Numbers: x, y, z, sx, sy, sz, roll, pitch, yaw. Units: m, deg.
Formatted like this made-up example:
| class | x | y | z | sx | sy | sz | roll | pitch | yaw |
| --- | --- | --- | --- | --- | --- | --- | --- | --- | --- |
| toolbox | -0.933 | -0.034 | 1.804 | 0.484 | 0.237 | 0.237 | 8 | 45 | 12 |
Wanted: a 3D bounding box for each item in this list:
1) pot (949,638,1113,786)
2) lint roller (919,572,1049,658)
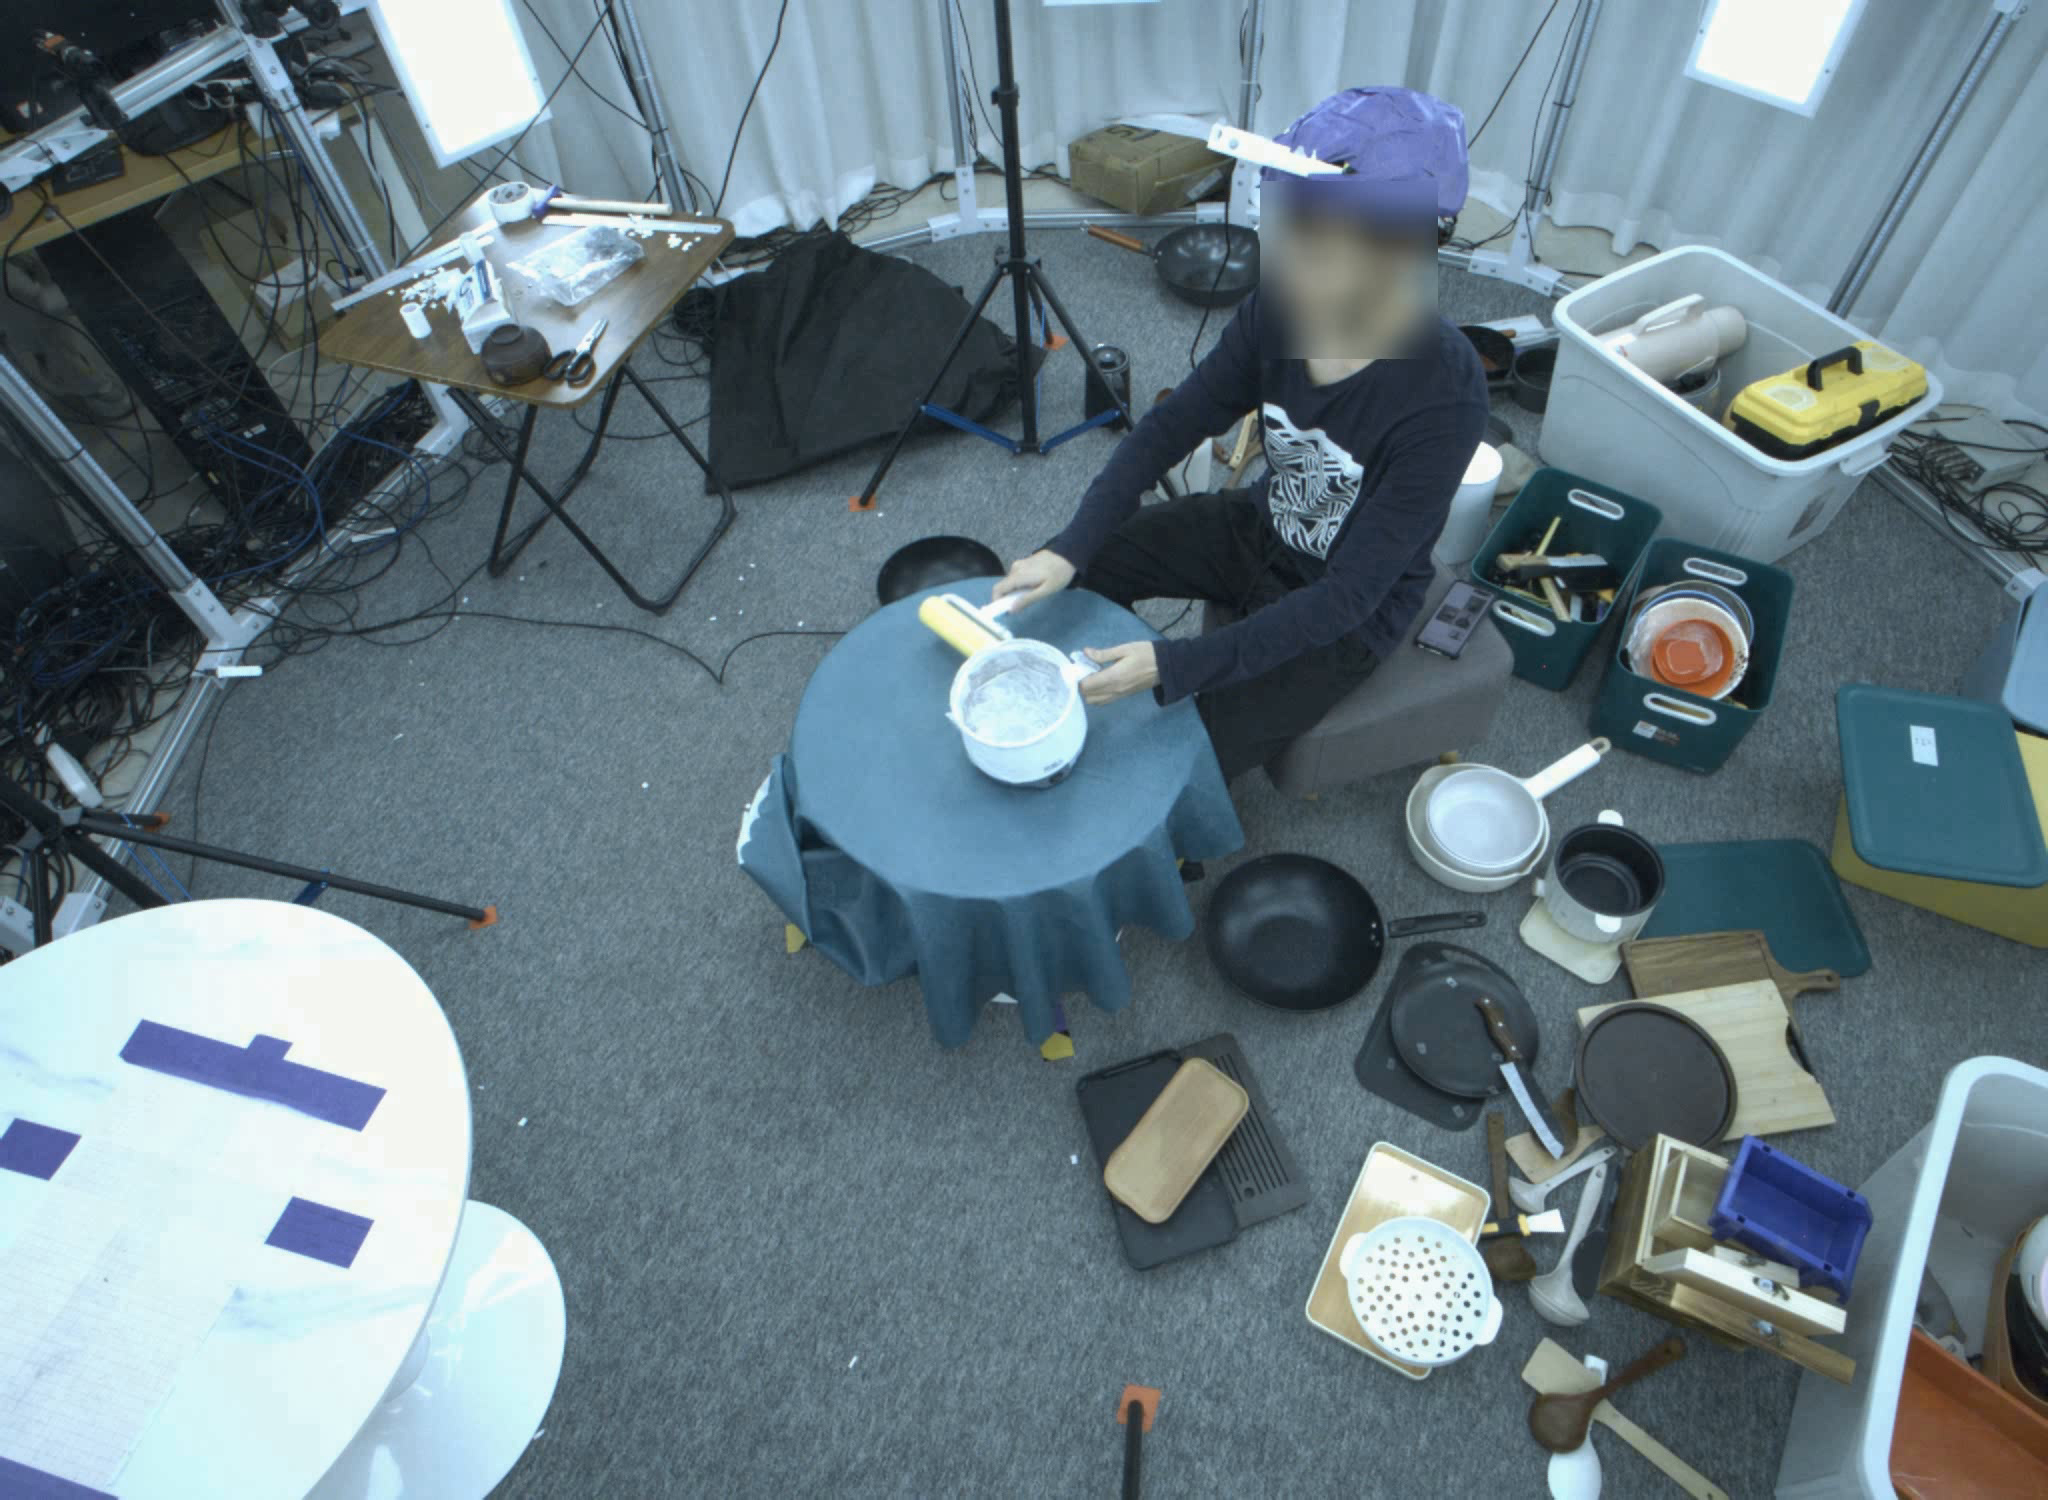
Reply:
| class | x | y | z | sx | sy | sz | roll | pitch | yaw |
| --- | --- | --- | --- | --- | --- | --- | --- | --- | --- |
| pot | 0.018 | -0.064 | 1.735 | 0.234 | 0.138 | 0.176 | -32 | 64 | -8 |
| lint roller | -0.040 | -0.224 | 1.855 | 0.193 | 0.052 | 0.170 | -41 | 49 | -17 |
